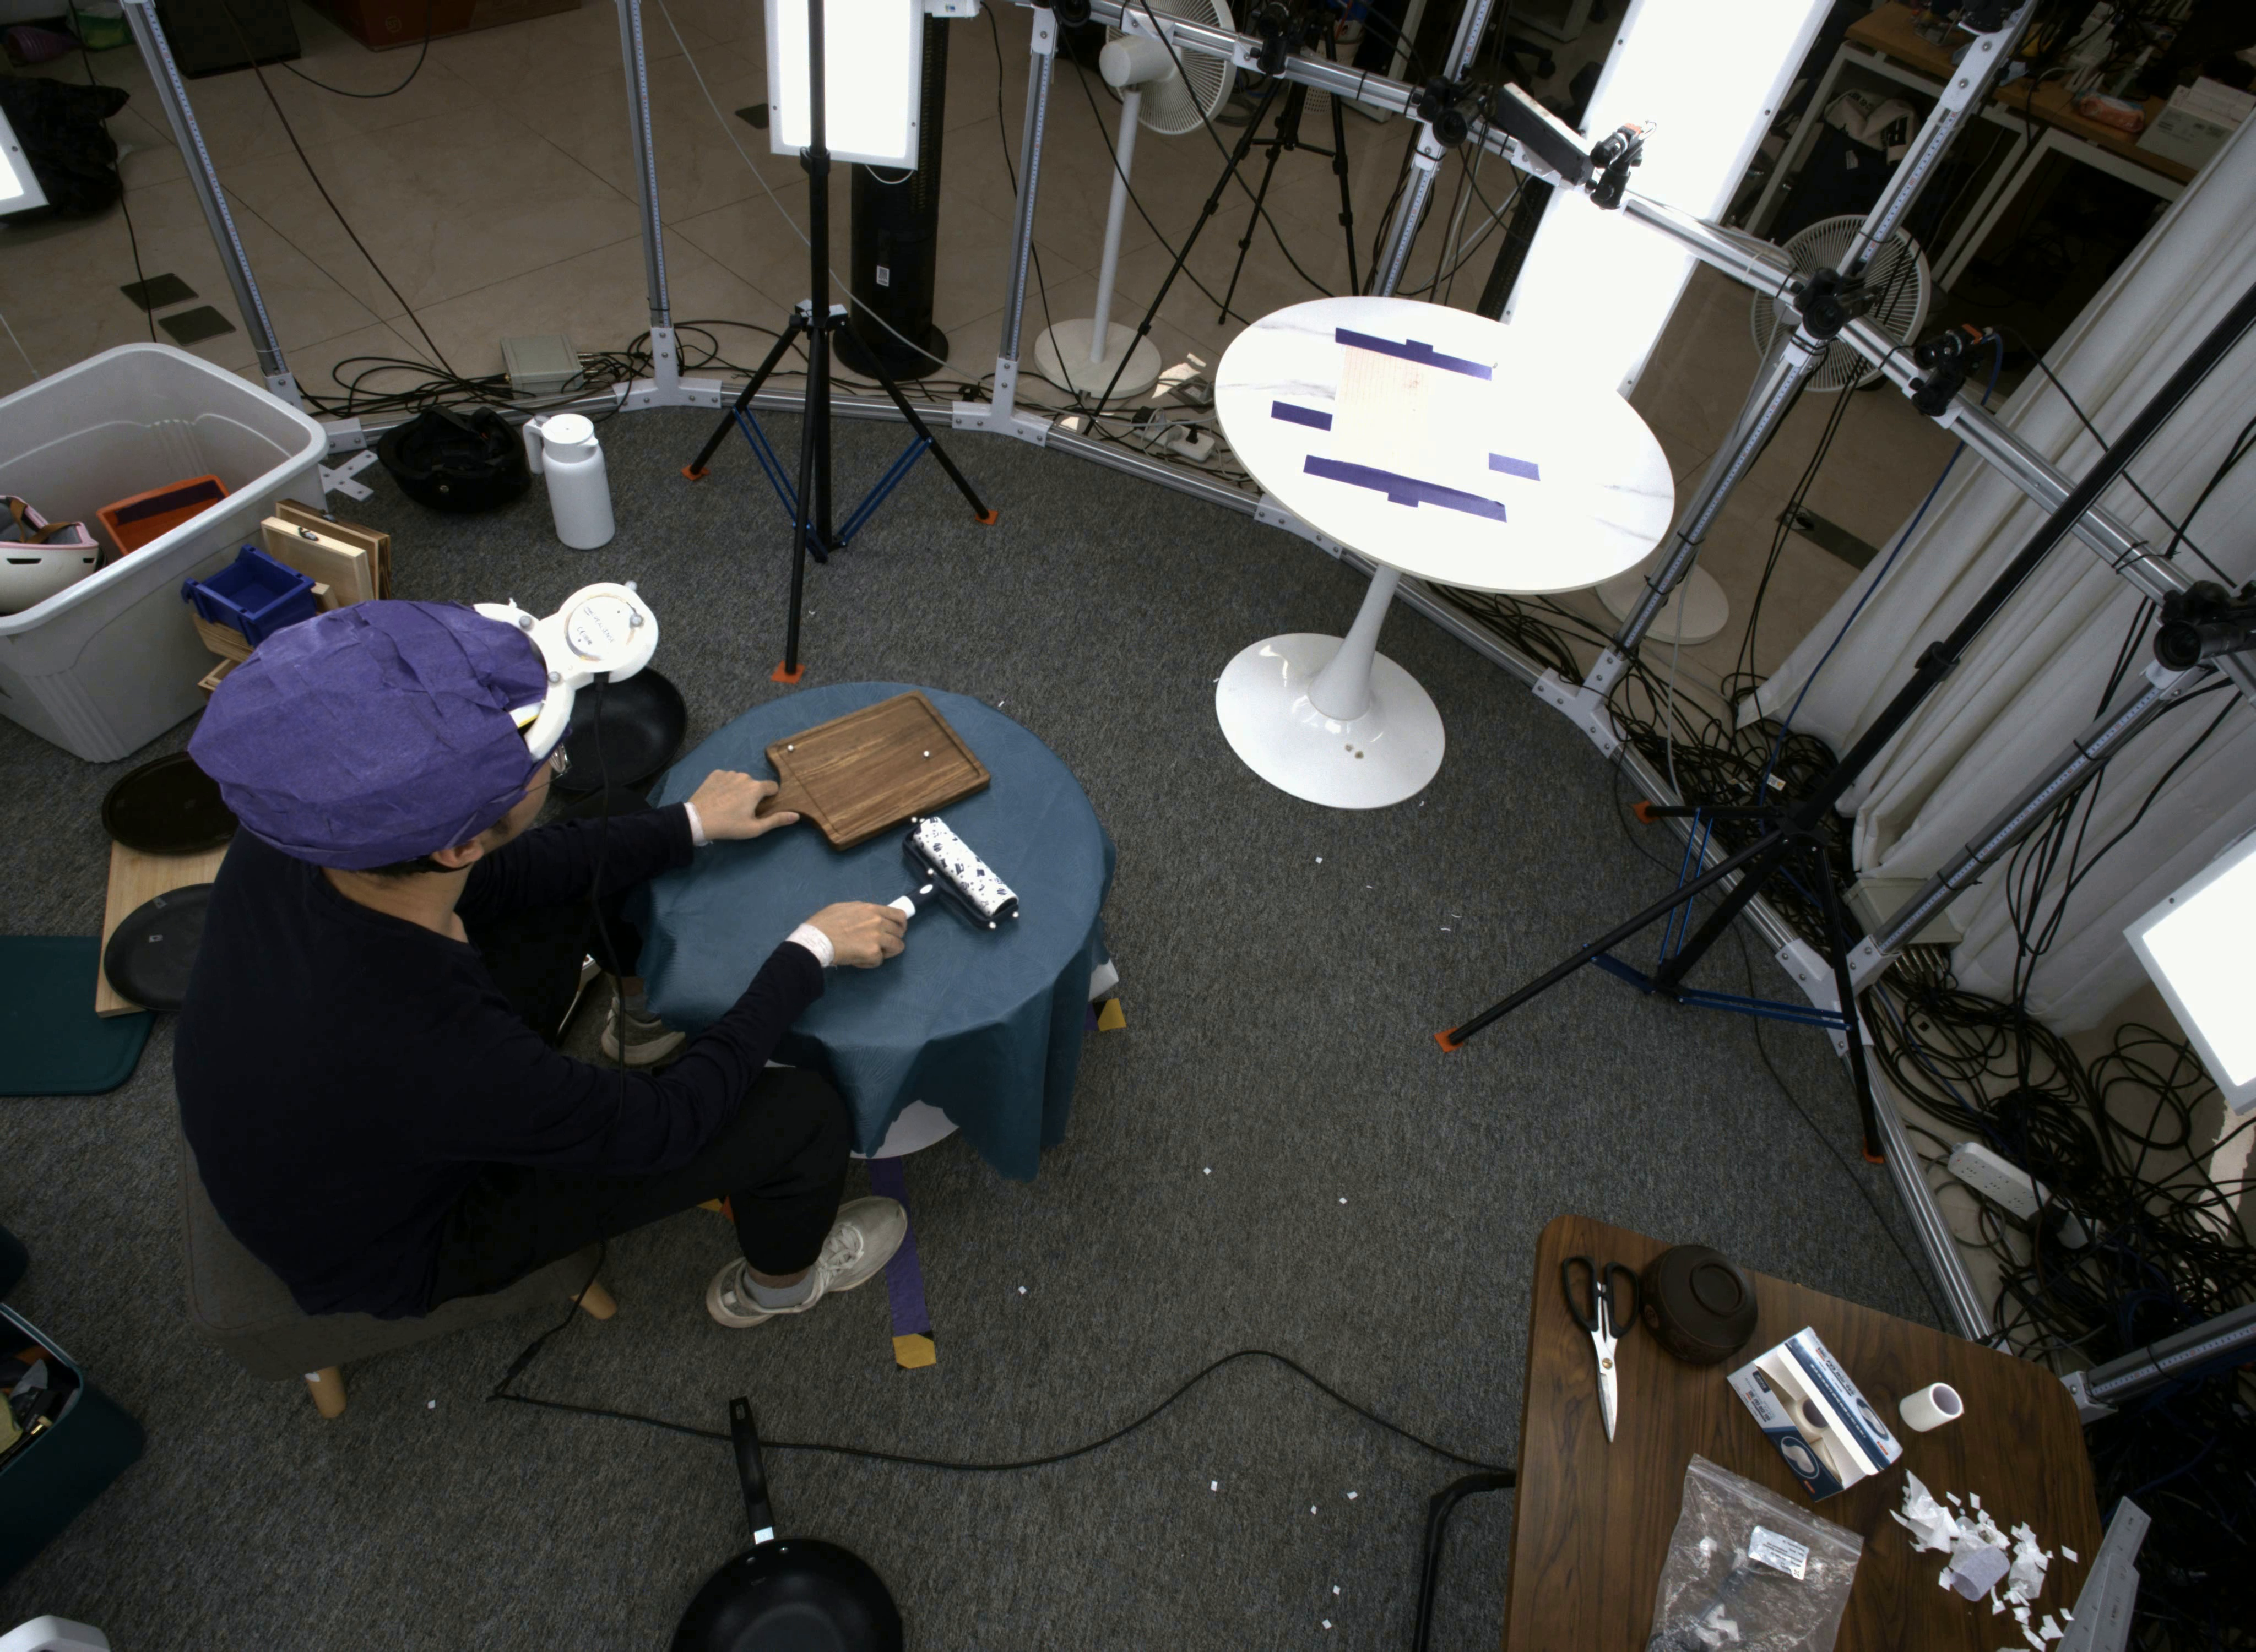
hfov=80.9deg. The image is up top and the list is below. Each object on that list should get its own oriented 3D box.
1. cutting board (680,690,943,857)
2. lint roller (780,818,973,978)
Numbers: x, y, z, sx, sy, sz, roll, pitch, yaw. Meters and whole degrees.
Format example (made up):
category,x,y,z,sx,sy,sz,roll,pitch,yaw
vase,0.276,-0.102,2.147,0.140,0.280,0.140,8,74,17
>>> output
category,x,y,z,sx,sy,sz,roll,pitch,yaw
cutting board,-0.445,-0.058,1.748,0.354,0.023,0.196,-30,65,-34
lint roller,-0.338,0.107,1.645,0.173,0.051,0.247,41,55,15
